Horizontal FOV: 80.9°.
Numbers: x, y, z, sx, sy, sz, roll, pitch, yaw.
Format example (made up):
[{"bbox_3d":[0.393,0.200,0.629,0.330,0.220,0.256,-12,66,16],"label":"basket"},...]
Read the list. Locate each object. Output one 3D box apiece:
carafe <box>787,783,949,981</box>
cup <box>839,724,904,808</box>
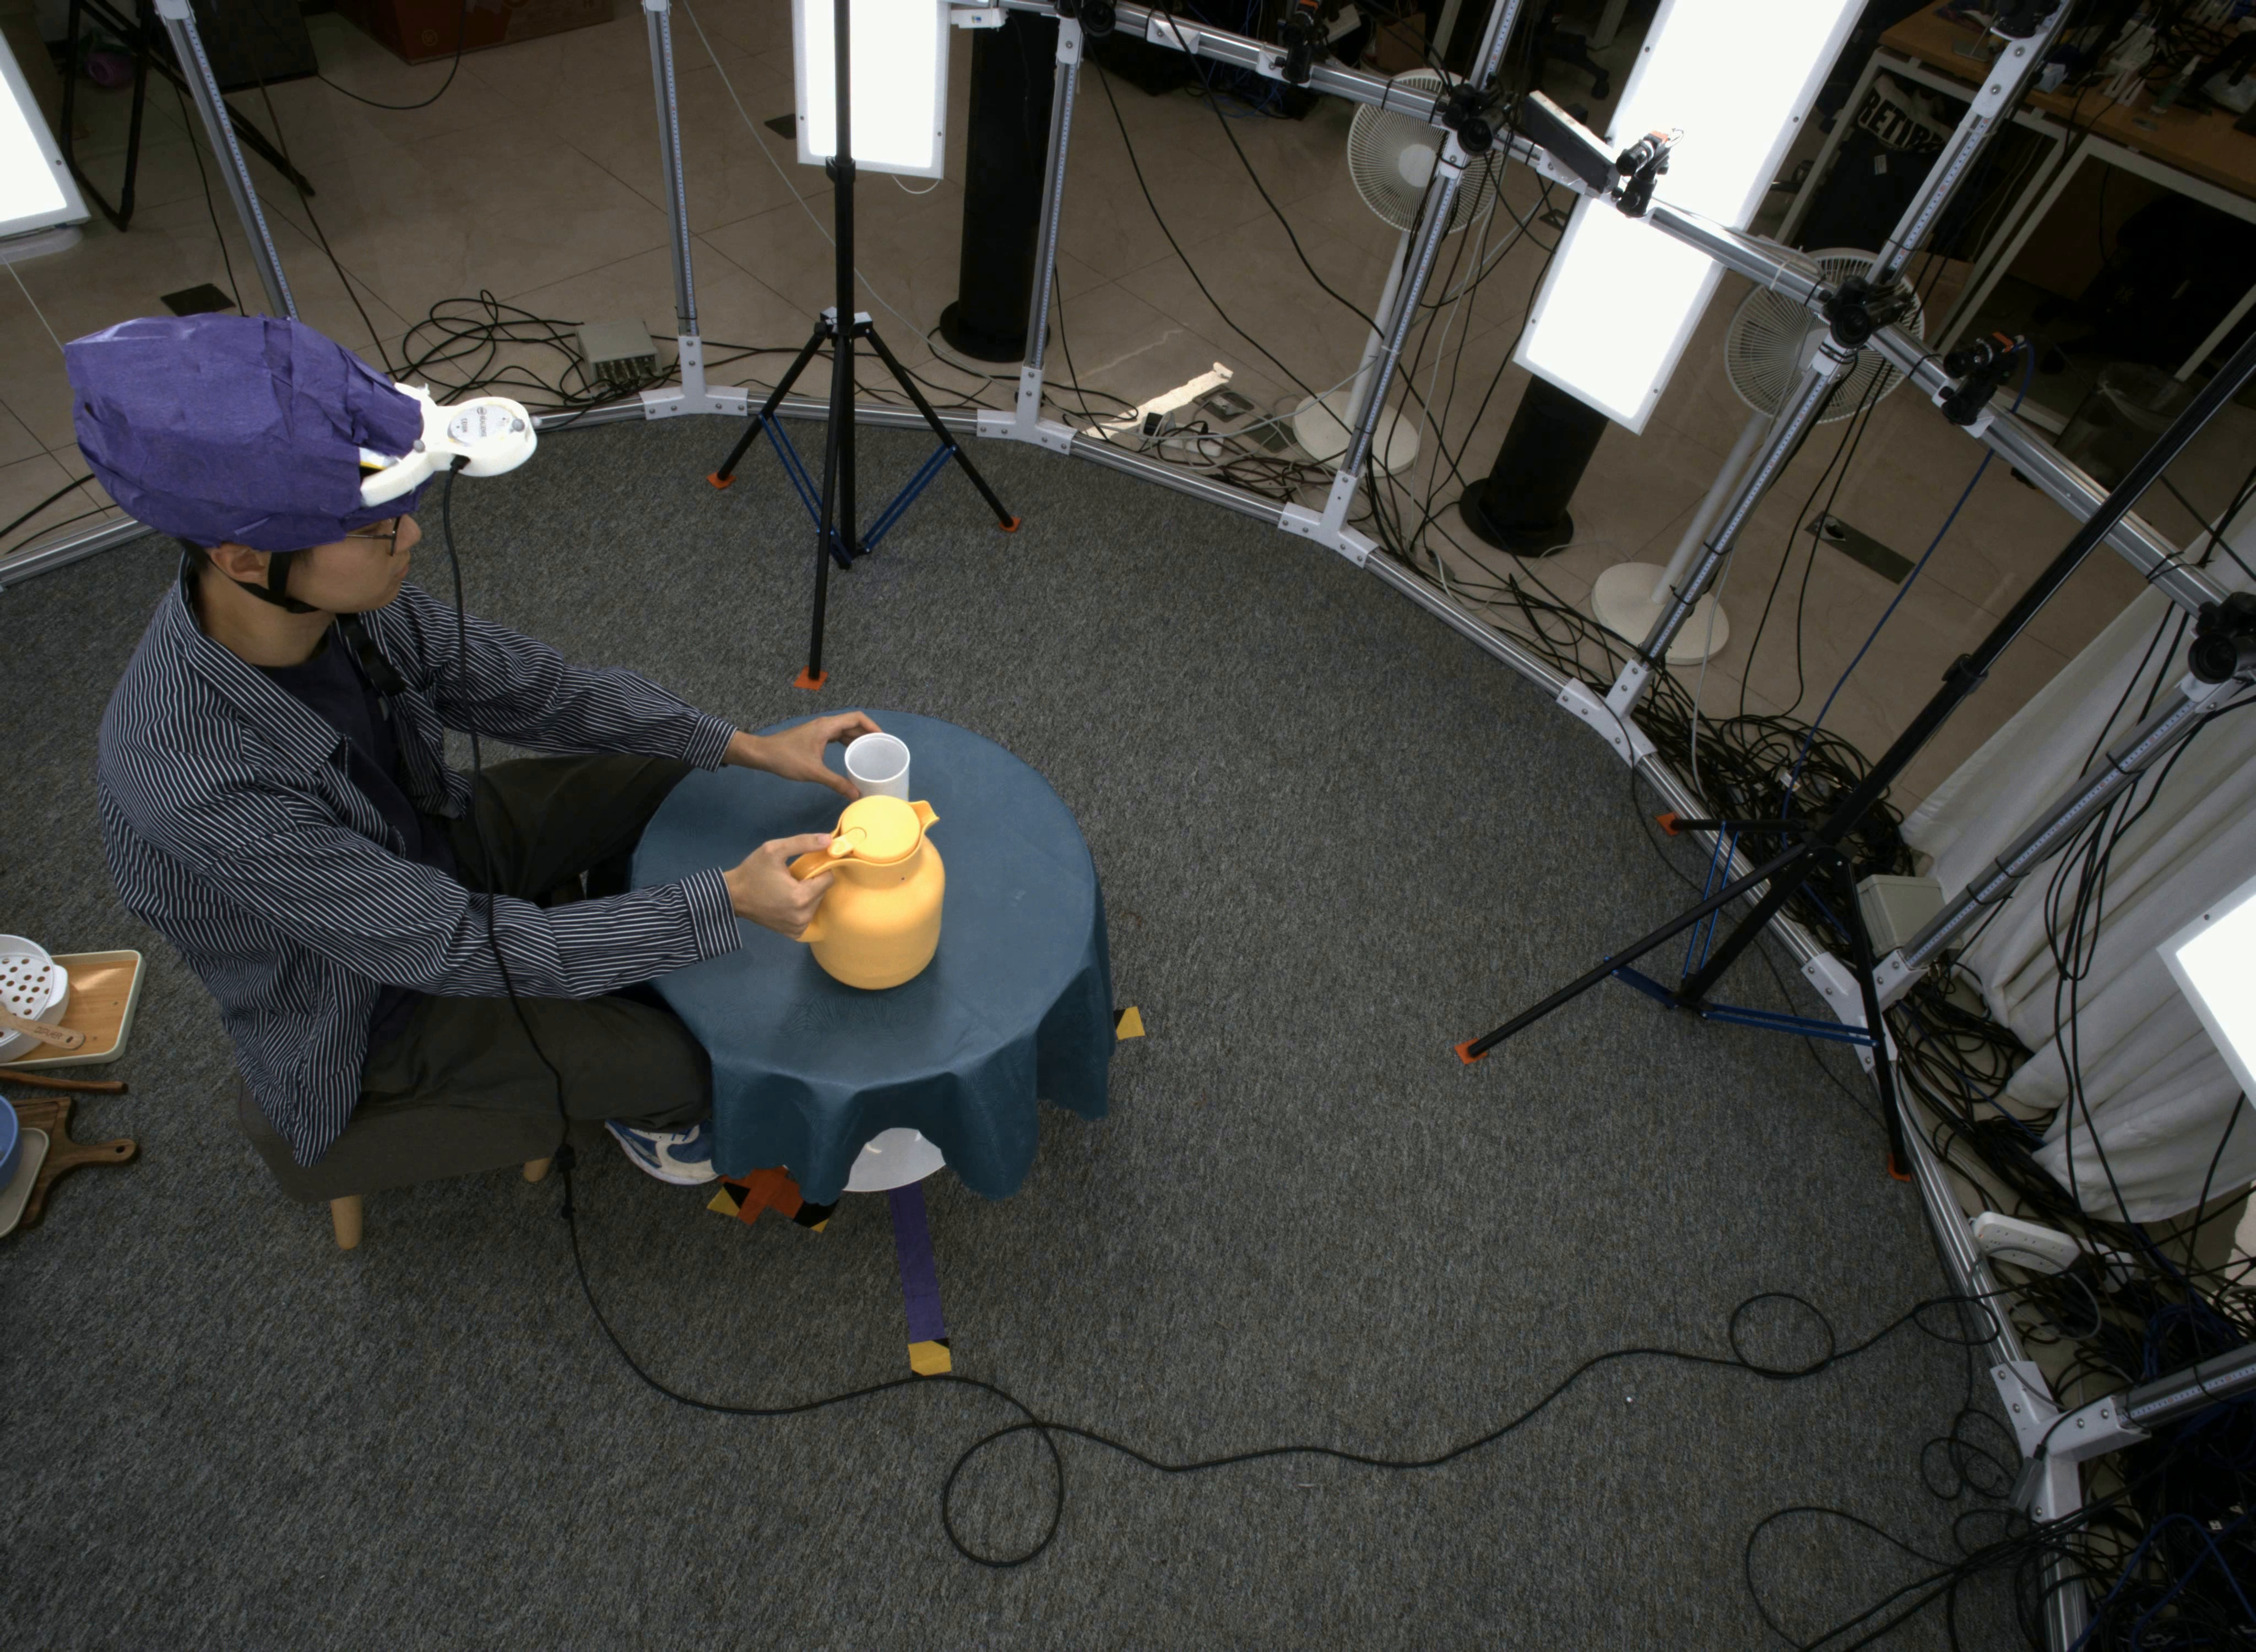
[{"bbox_3d":[-0.311,0.067,1.548,0.203,0.266,0.159,-29,64,-29],"label":"carafe"},{"bbox_3d":[-0.333,-0.061,1.702,0.081,0.128,0.080,4,53,-4],"label":"cup"}]
